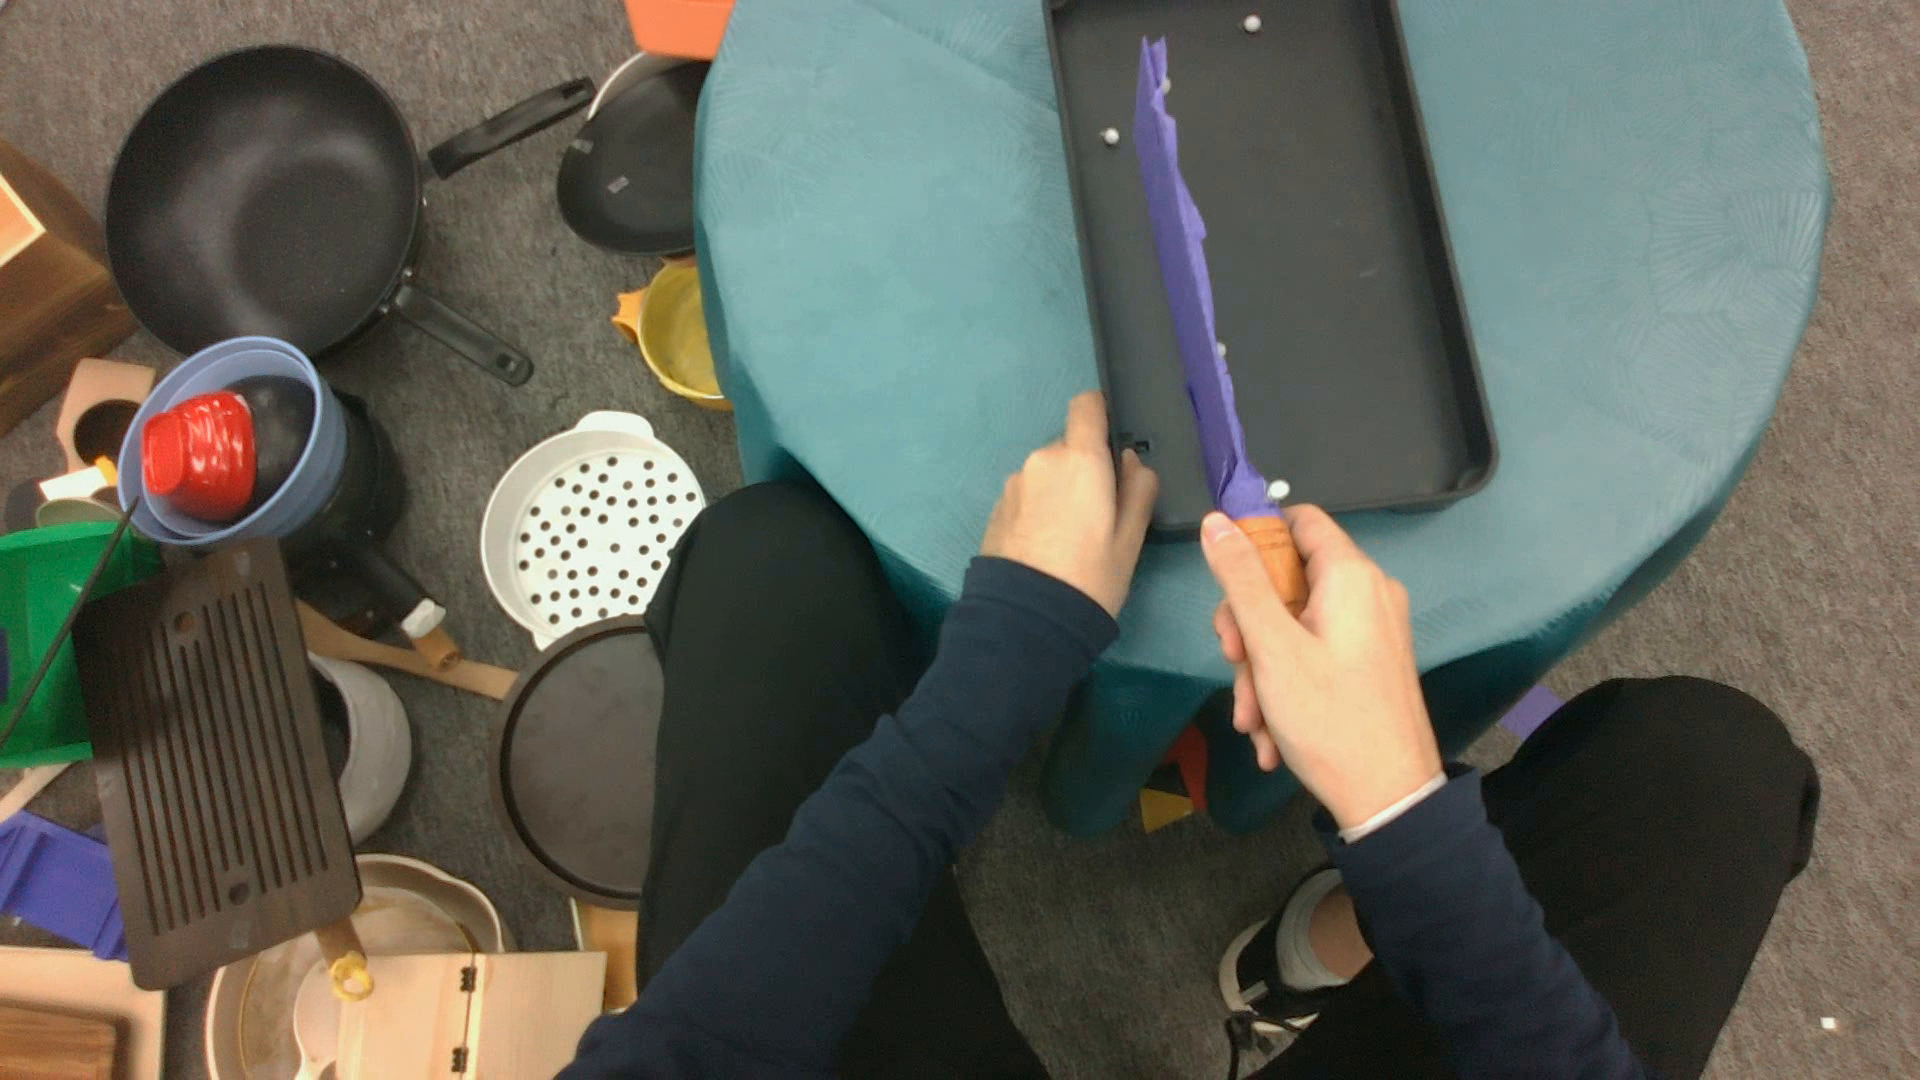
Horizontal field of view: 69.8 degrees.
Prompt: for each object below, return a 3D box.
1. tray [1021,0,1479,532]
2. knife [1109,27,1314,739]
[{"bbox_3d":[0.142,-0.167,0.714,0.184,0.037,0.318,-8,77,-1],"label":"tray"},{"bbox_3d":[0.106,-0.067,0.615,0.032,0.103,0.316,-10,76,3],"label":"knife"}]
